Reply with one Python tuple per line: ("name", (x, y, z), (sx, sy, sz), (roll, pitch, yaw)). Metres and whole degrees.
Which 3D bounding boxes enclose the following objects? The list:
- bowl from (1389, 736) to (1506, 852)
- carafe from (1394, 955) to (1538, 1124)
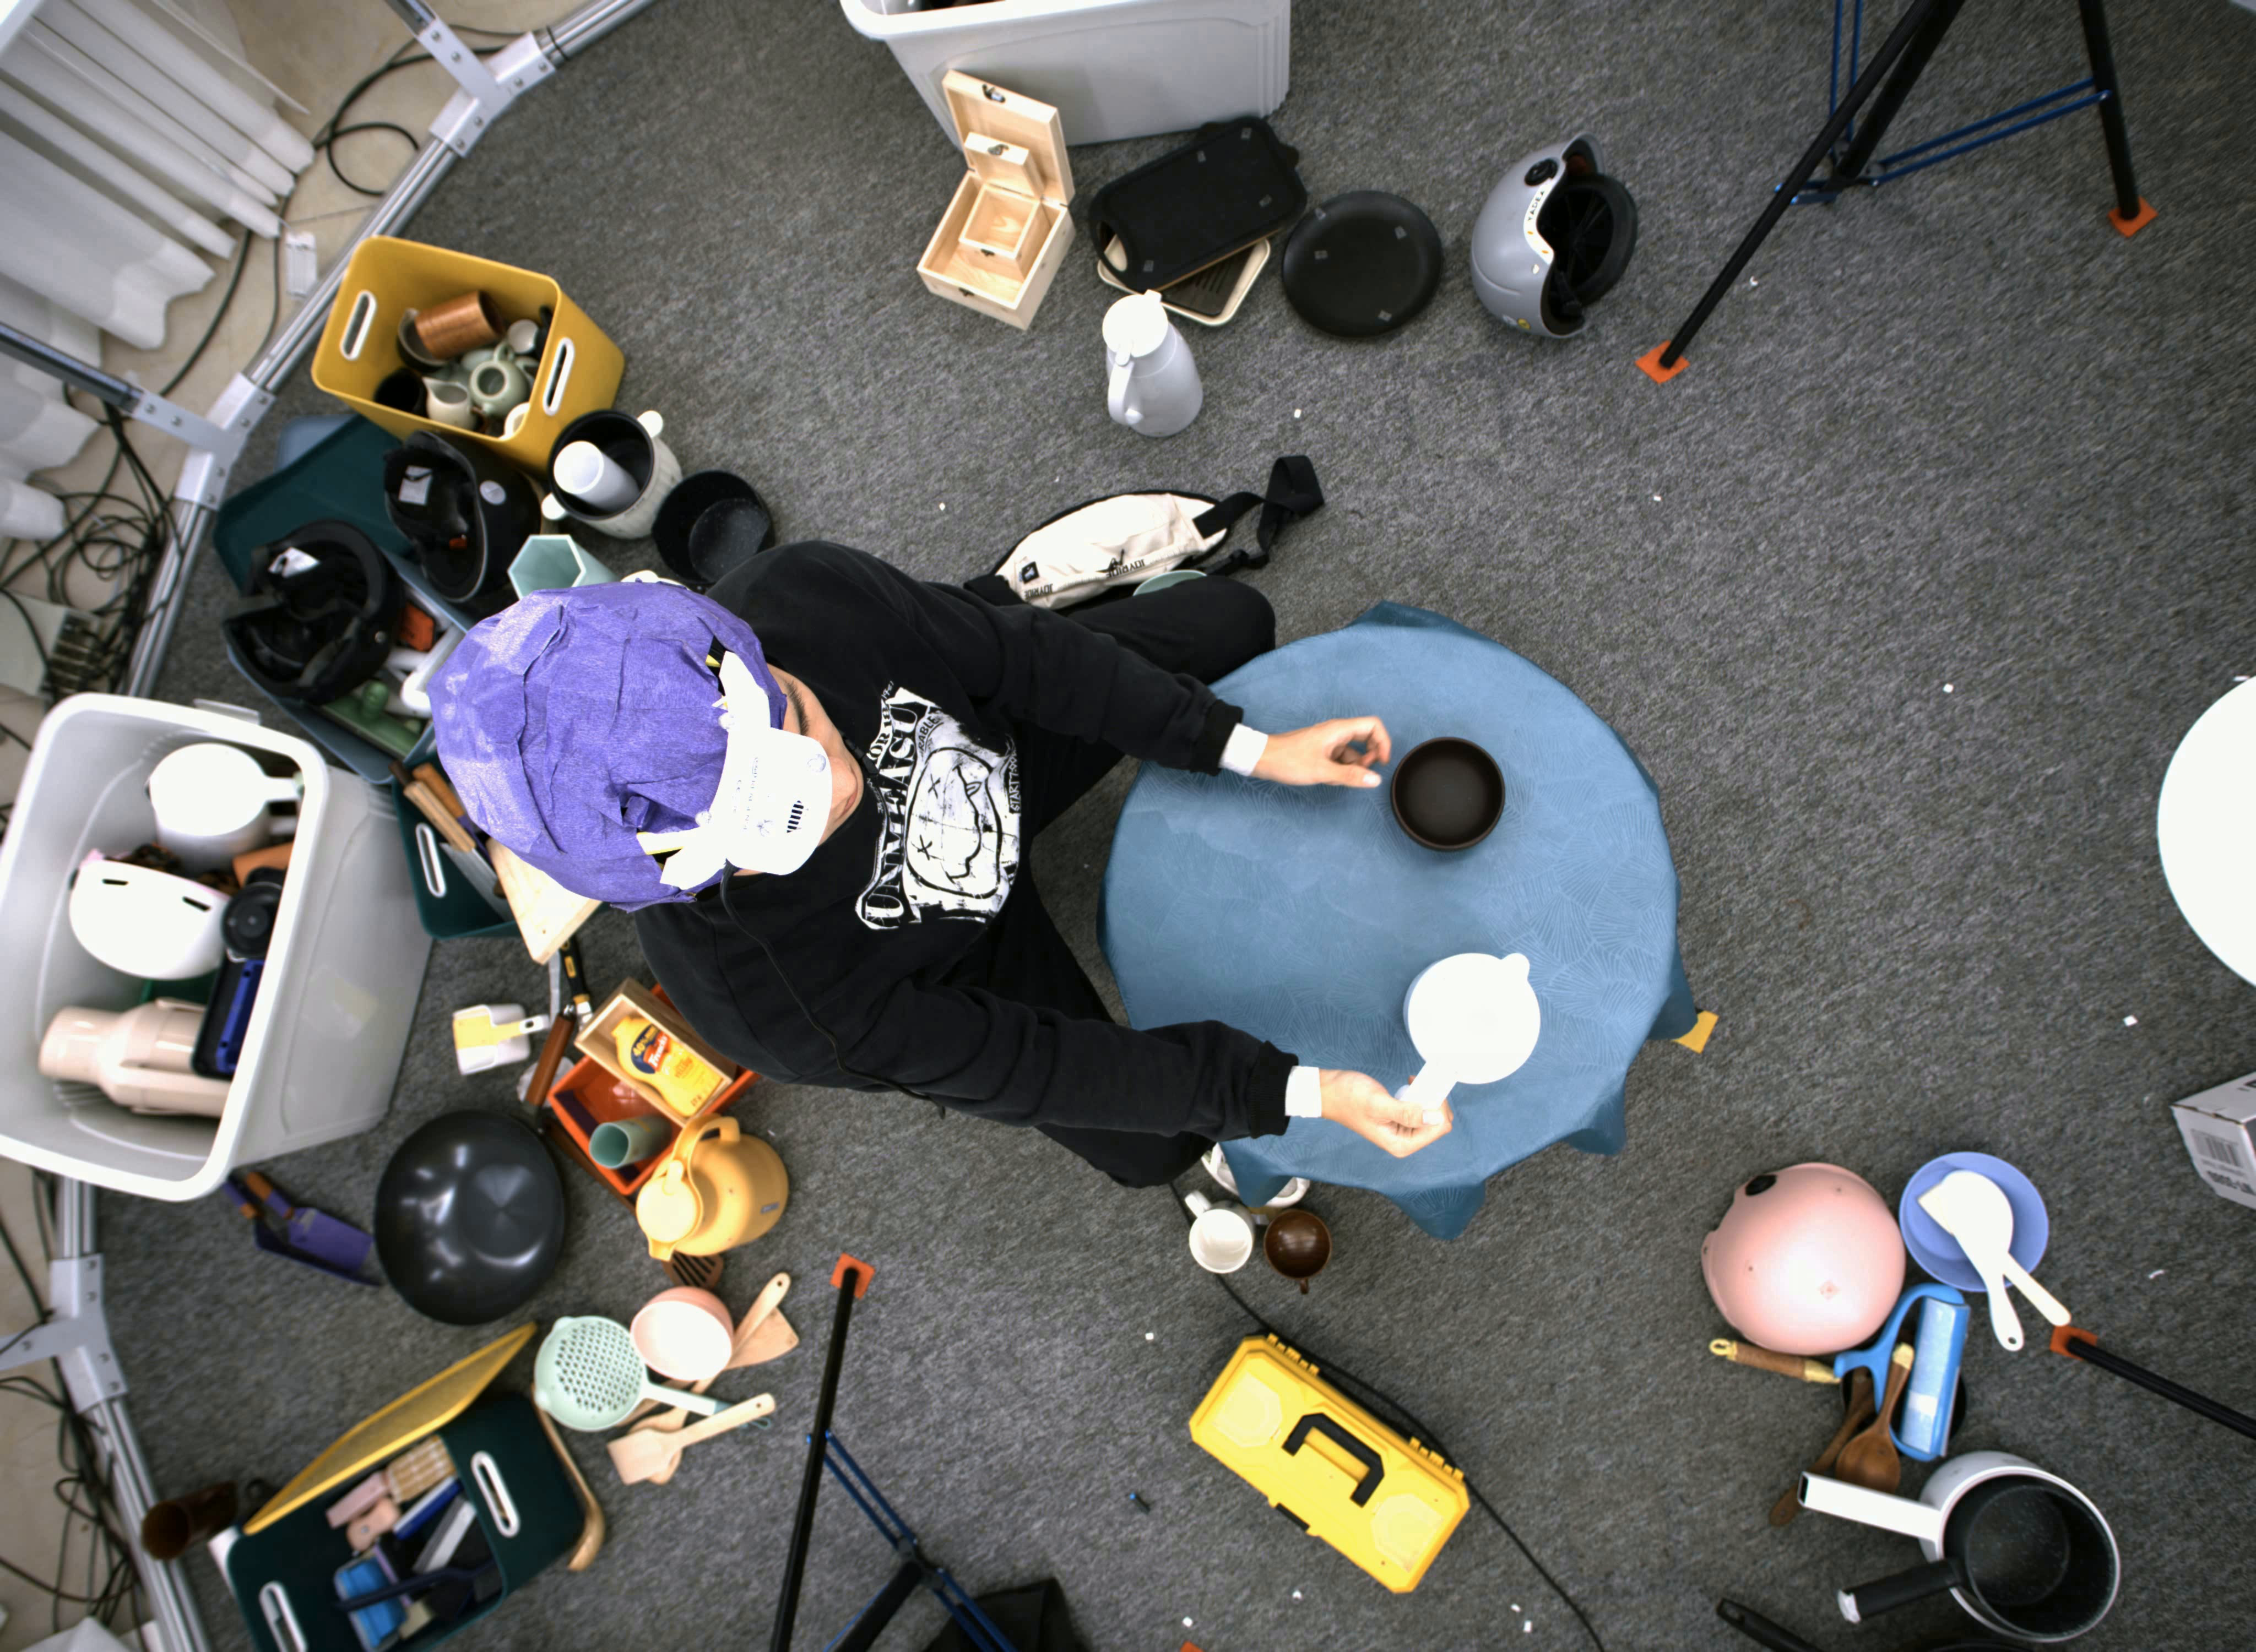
("bowl", (0.328, -0.032, 1.417), (0.118, 0.070, 0.117), (-1, 87, 11))
("carafe", (0.314, 0.196, 1.312), (0.123, 0.269, 0.173), (34, 92, 10))
